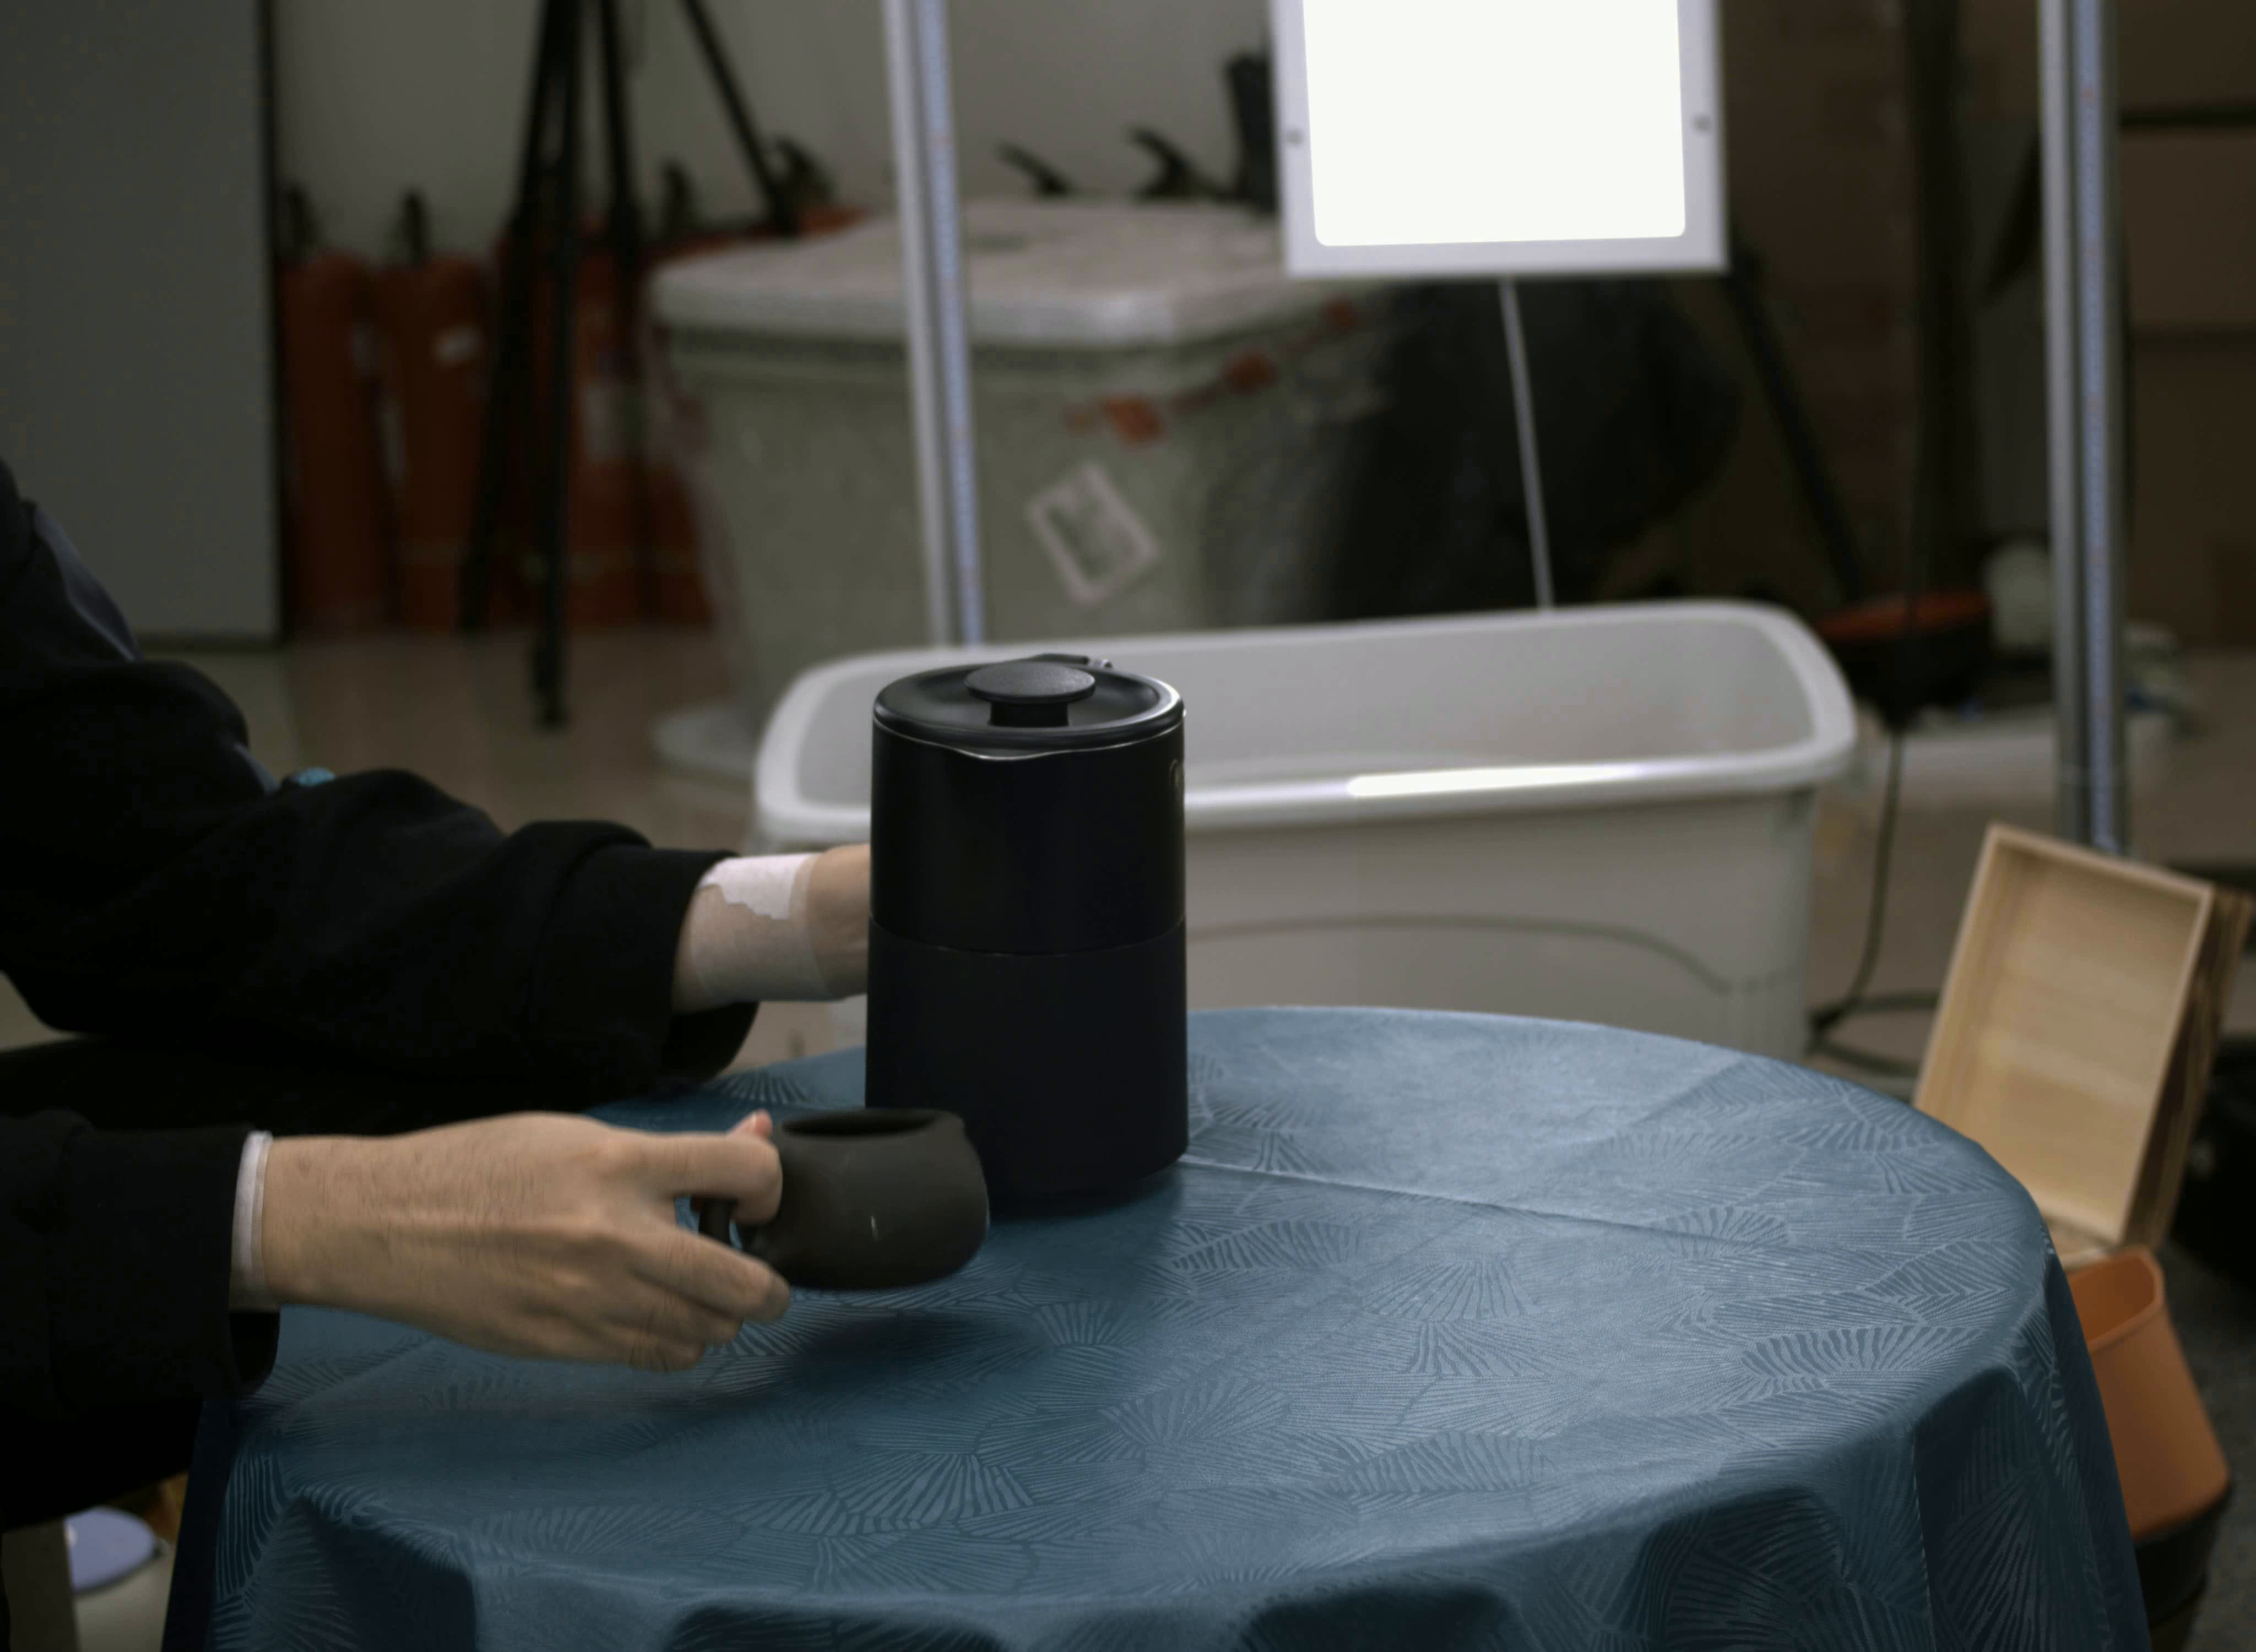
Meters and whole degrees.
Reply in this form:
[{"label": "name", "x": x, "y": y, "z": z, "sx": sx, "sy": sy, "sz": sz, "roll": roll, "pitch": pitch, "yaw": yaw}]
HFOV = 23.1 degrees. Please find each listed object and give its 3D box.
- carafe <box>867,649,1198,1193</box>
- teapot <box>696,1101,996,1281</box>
[{"label": "carafe", "x": -0.032, "y": 0.023, "z": 1.917, "sx": 0.115, "sy": 0.174, "sz": 0.170, "roll": 1, "pitch": 17, "yaw": 8}, {"label": "teapot", "x": -0.092, "y": 0.117, "z": 1.756, "sx": 0.111, "sy": 0.053, "sz": 0.085, "roll": -4, "pitch": 5, "yaw": -41}]
